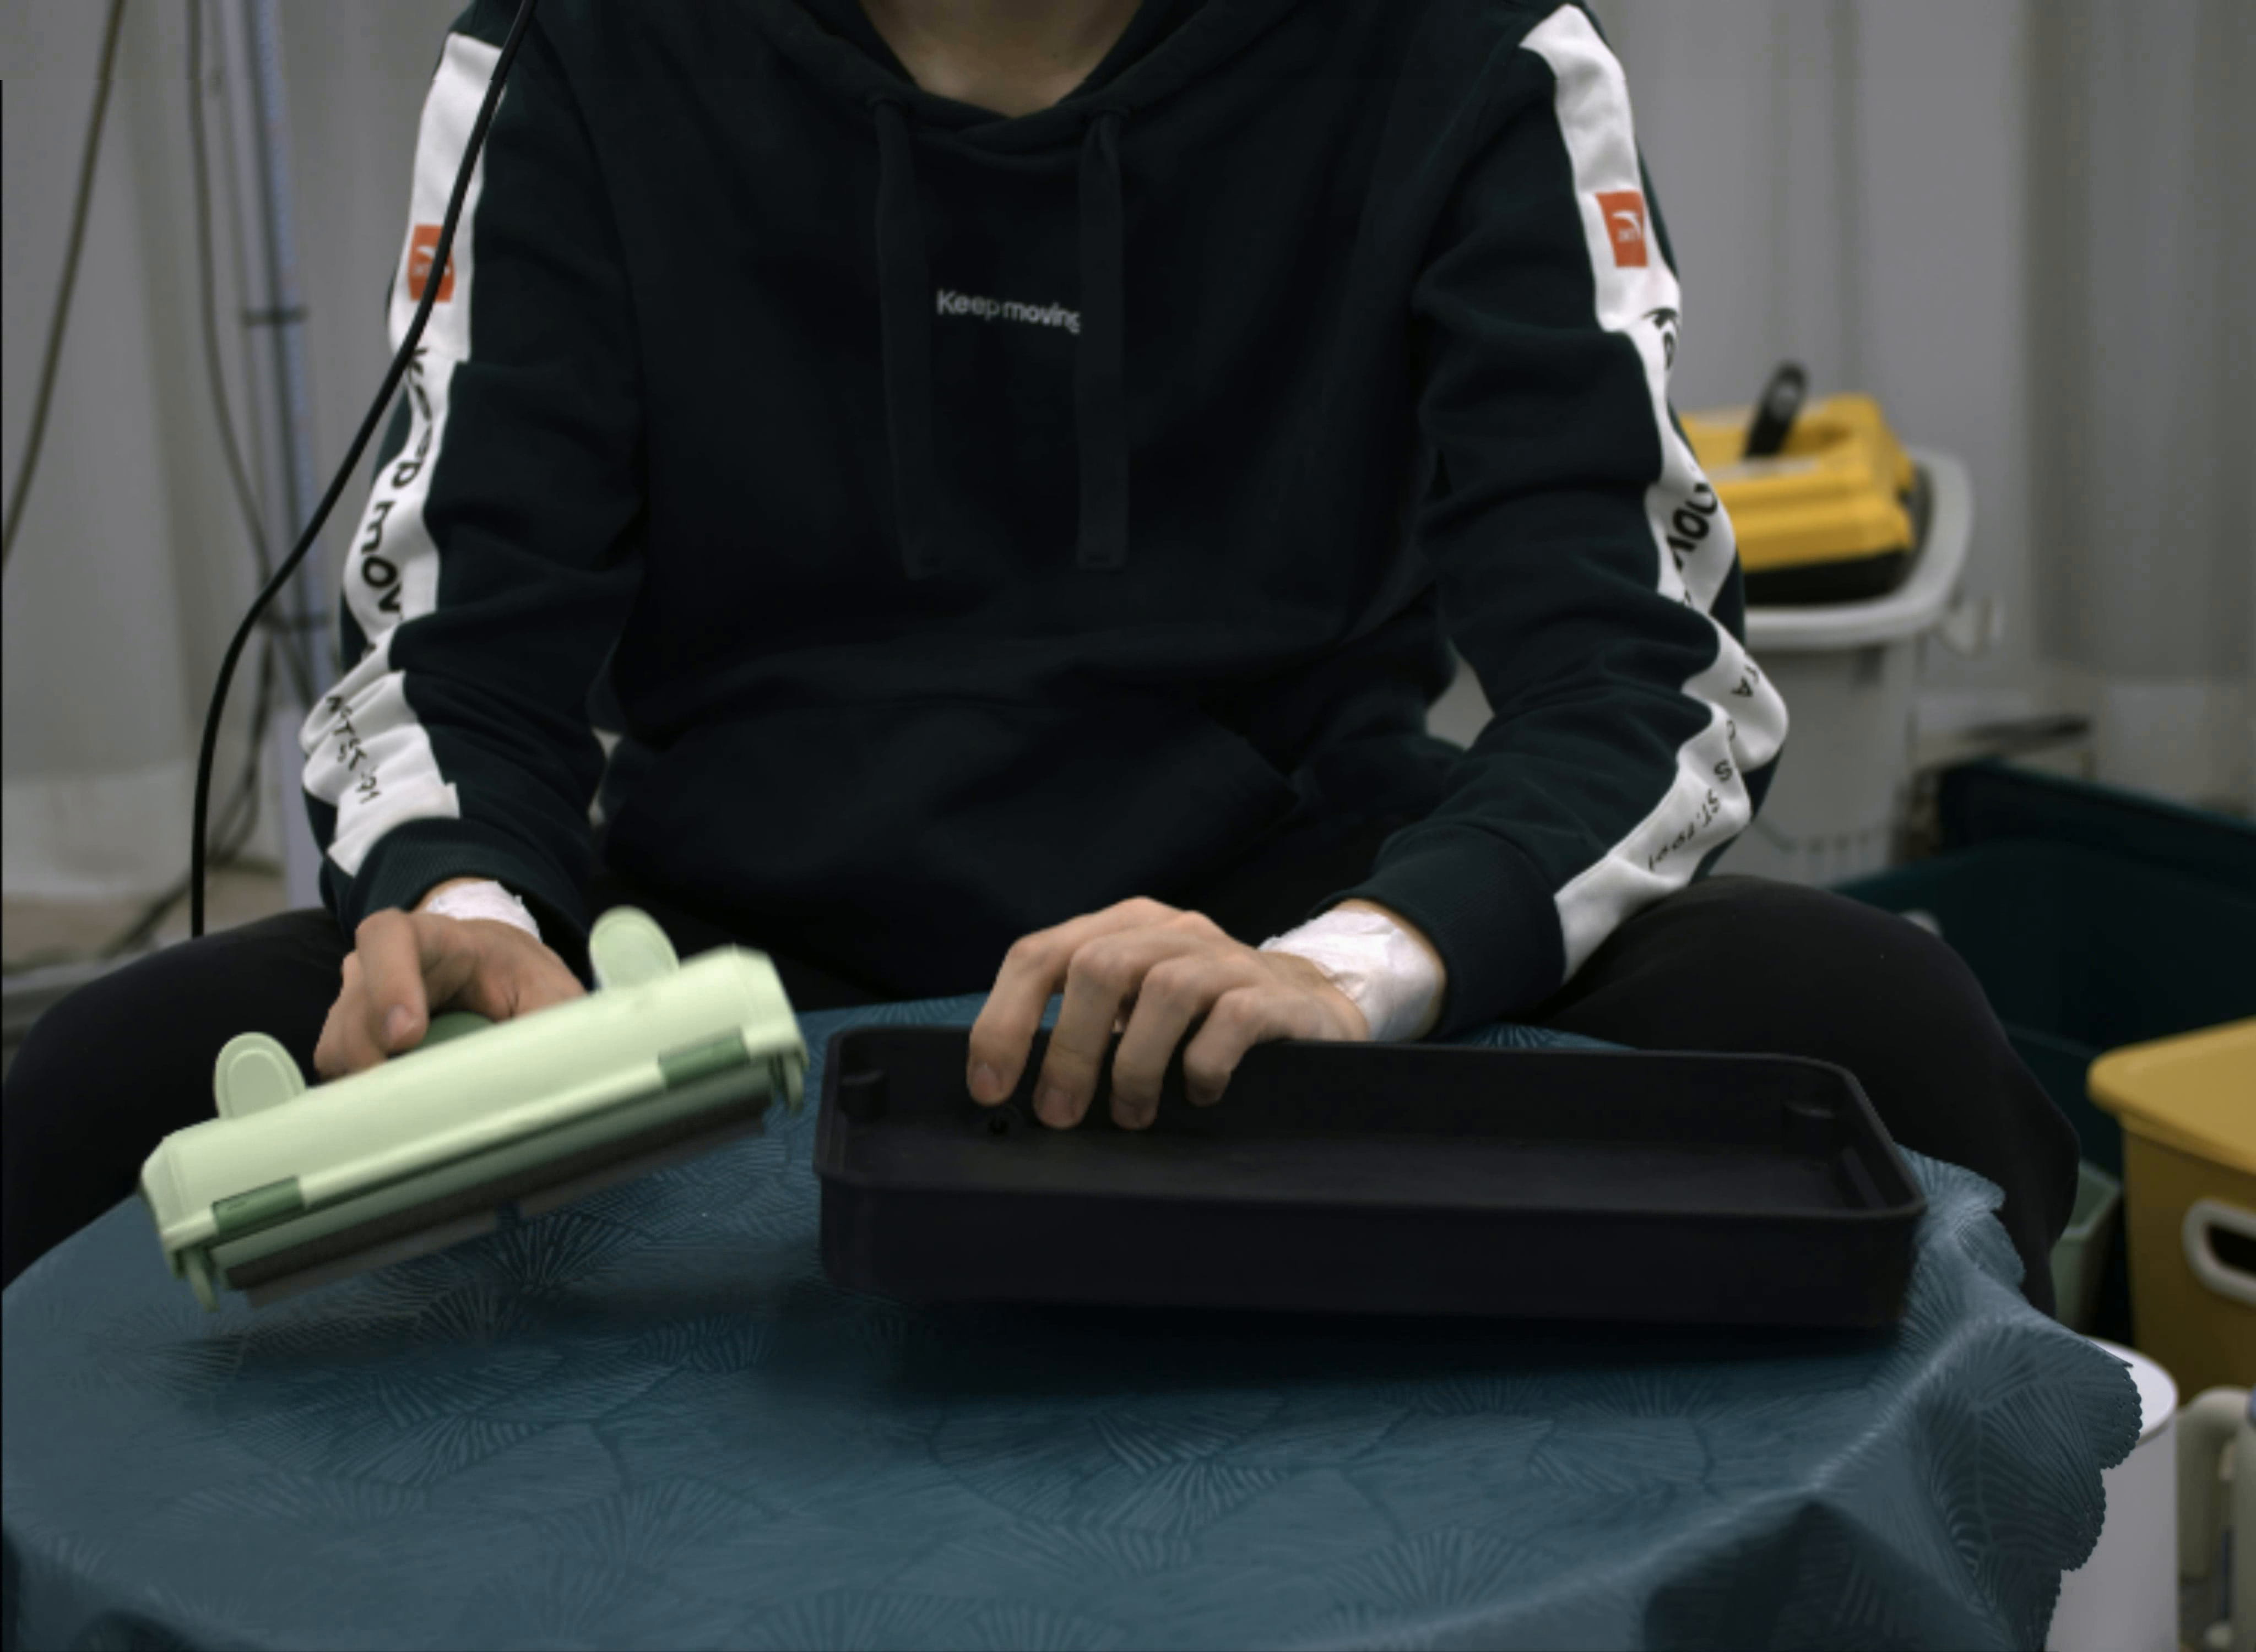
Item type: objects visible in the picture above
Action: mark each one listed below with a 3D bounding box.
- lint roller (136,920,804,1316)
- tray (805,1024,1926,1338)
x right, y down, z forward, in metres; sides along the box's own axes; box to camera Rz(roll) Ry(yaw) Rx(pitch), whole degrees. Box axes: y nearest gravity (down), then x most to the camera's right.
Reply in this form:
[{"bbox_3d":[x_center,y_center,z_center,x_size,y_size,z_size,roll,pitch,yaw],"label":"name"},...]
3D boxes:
[{"bbox_3d":[-0.208,0.069,1.670,0.198,0.081,0.185,-17,21,-8],"label":"lint roller"},{"bbox_3d":[0.066,0.103,1.612,0.317,0.037,0.185,2,12,-1],"label":"tray"}]
